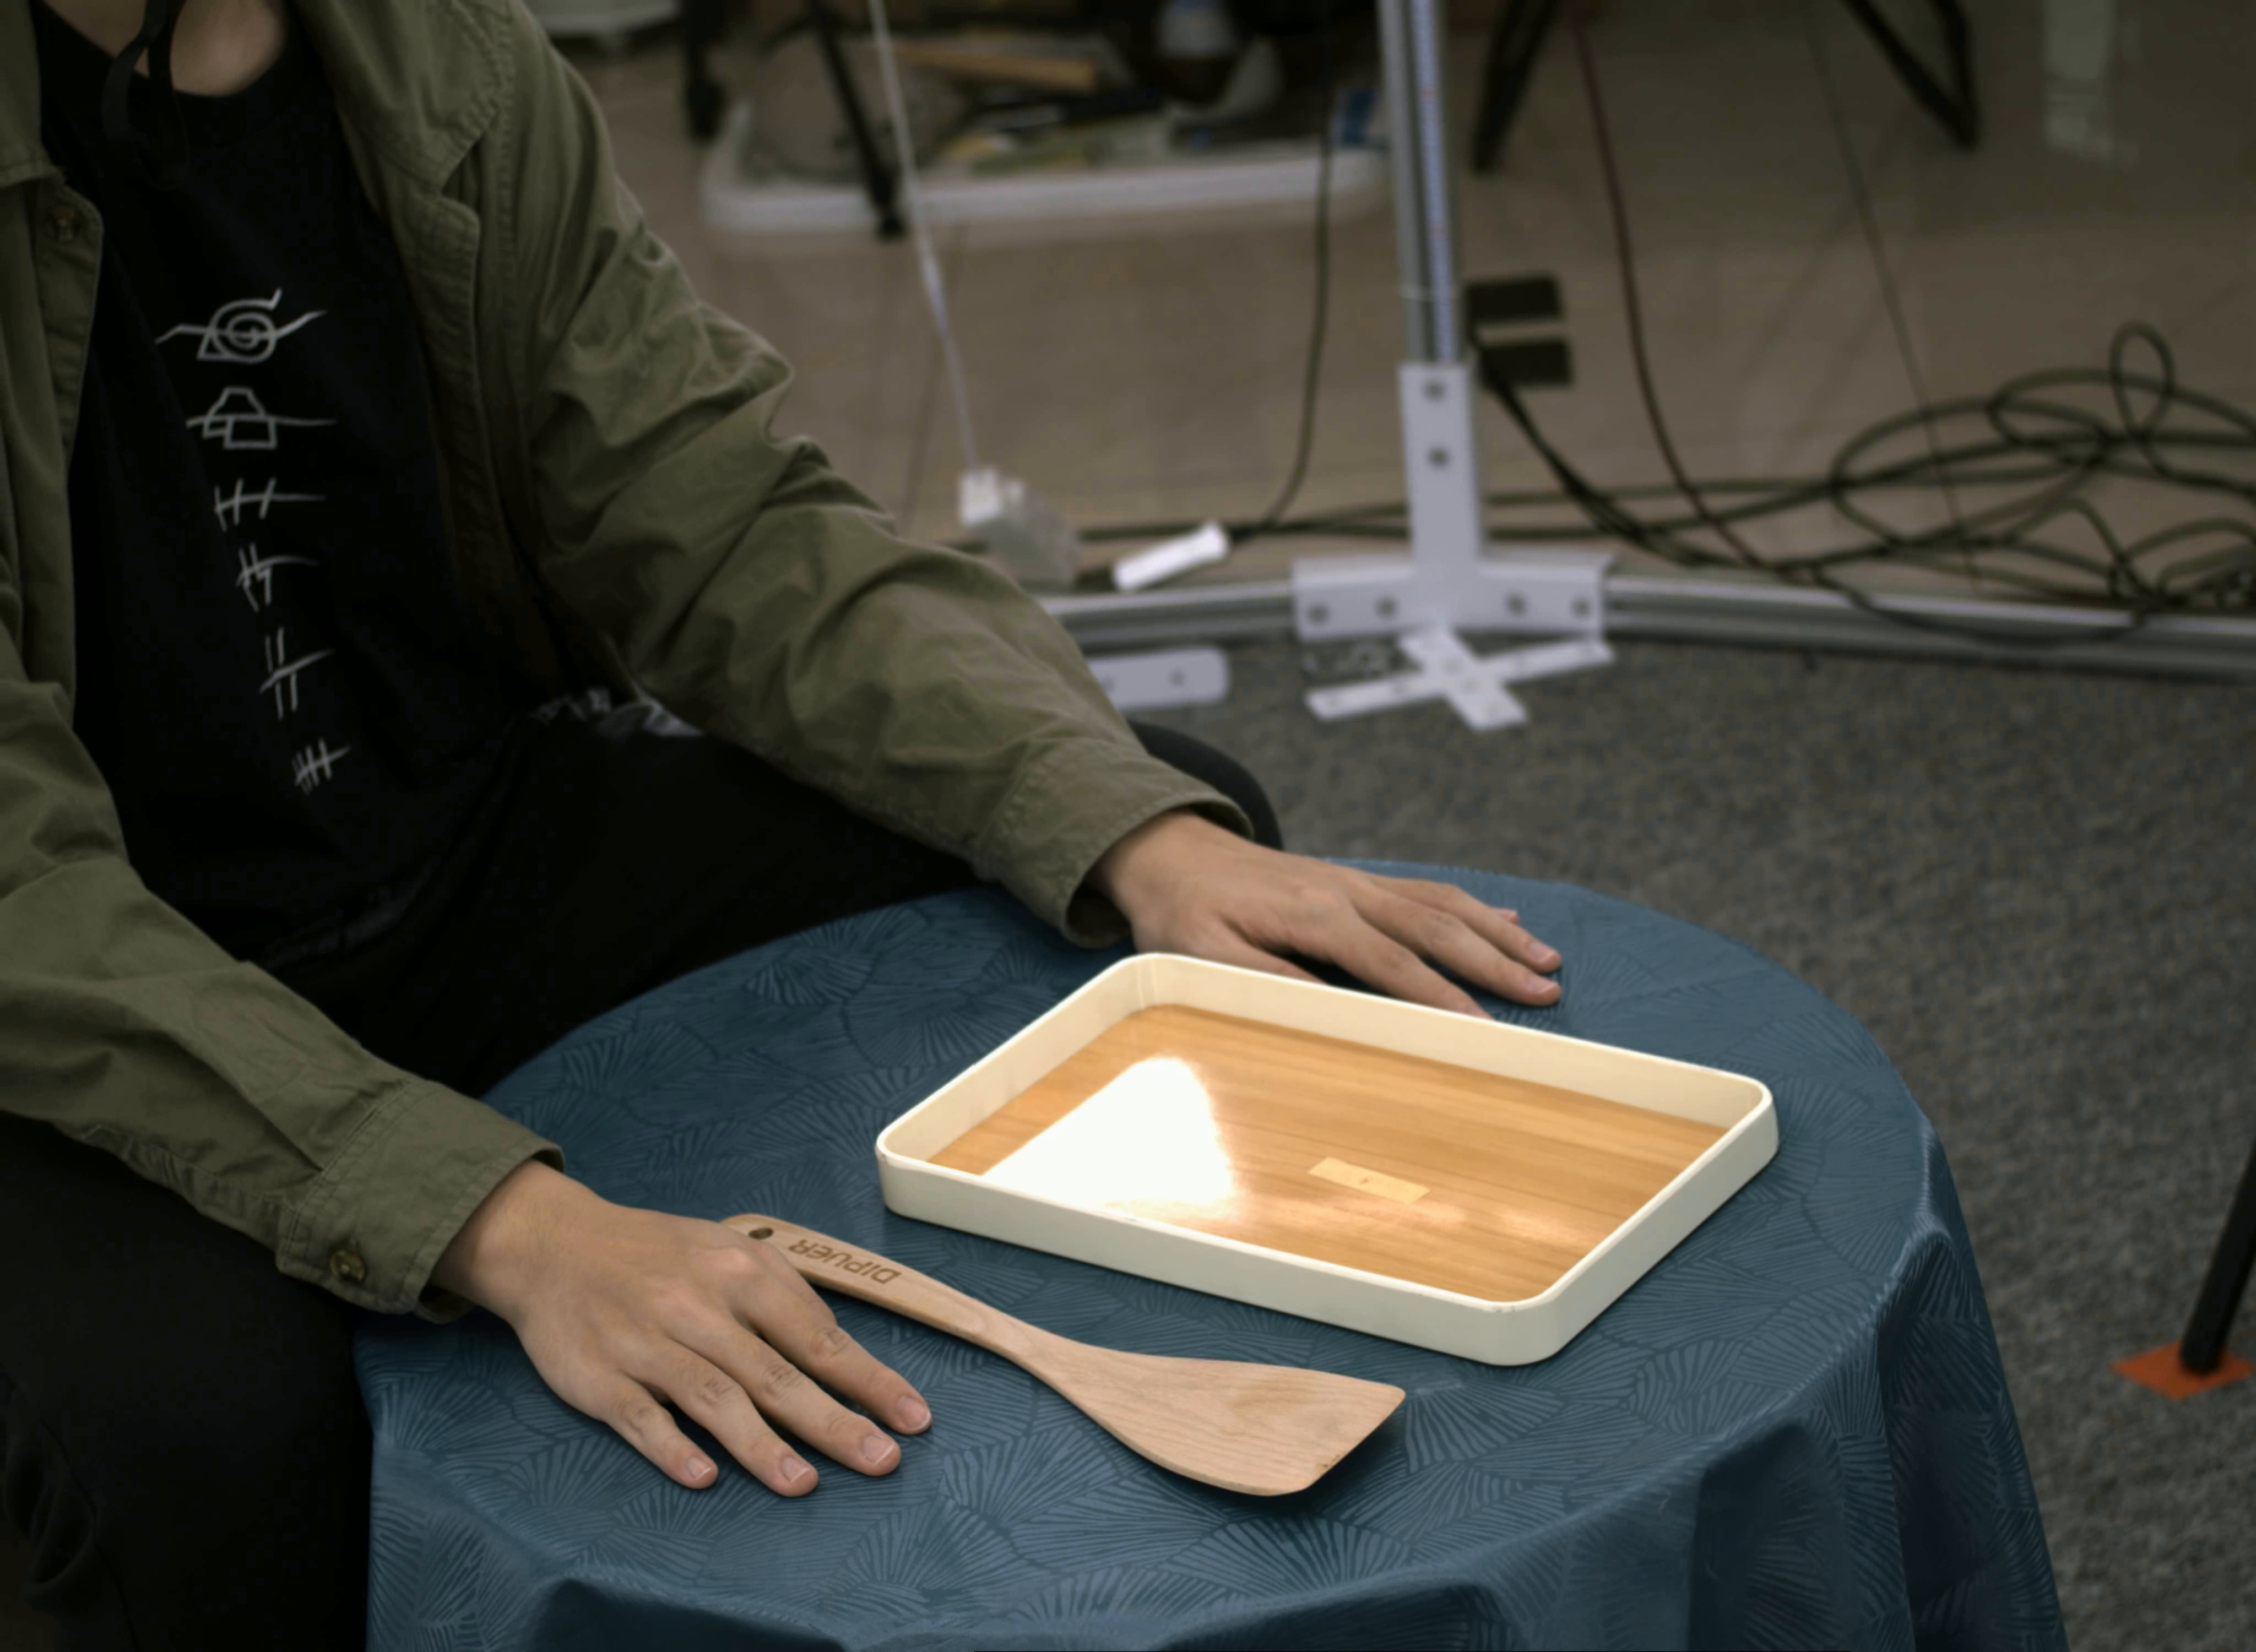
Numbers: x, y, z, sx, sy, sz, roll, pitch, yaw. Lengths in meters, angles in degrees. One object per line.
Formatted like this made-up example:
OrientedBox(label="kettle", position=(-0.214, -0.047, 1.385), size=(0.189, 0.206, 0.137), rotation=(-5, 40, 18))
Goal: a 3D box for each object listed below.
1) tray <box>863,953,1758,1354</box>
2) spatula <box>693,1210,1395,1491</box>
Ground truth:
OrientedBox(label="tray", position=(0.068, 0.119, 2.143), size=(0.298, 0.028, 0.189), rotation=(11, 30, 35))
OrientedBox(label="spatula", position=(-0.040, 0.182, 2.052), size=(0.325, 0.017, 0.079), rotation=(16, 33, 39))
